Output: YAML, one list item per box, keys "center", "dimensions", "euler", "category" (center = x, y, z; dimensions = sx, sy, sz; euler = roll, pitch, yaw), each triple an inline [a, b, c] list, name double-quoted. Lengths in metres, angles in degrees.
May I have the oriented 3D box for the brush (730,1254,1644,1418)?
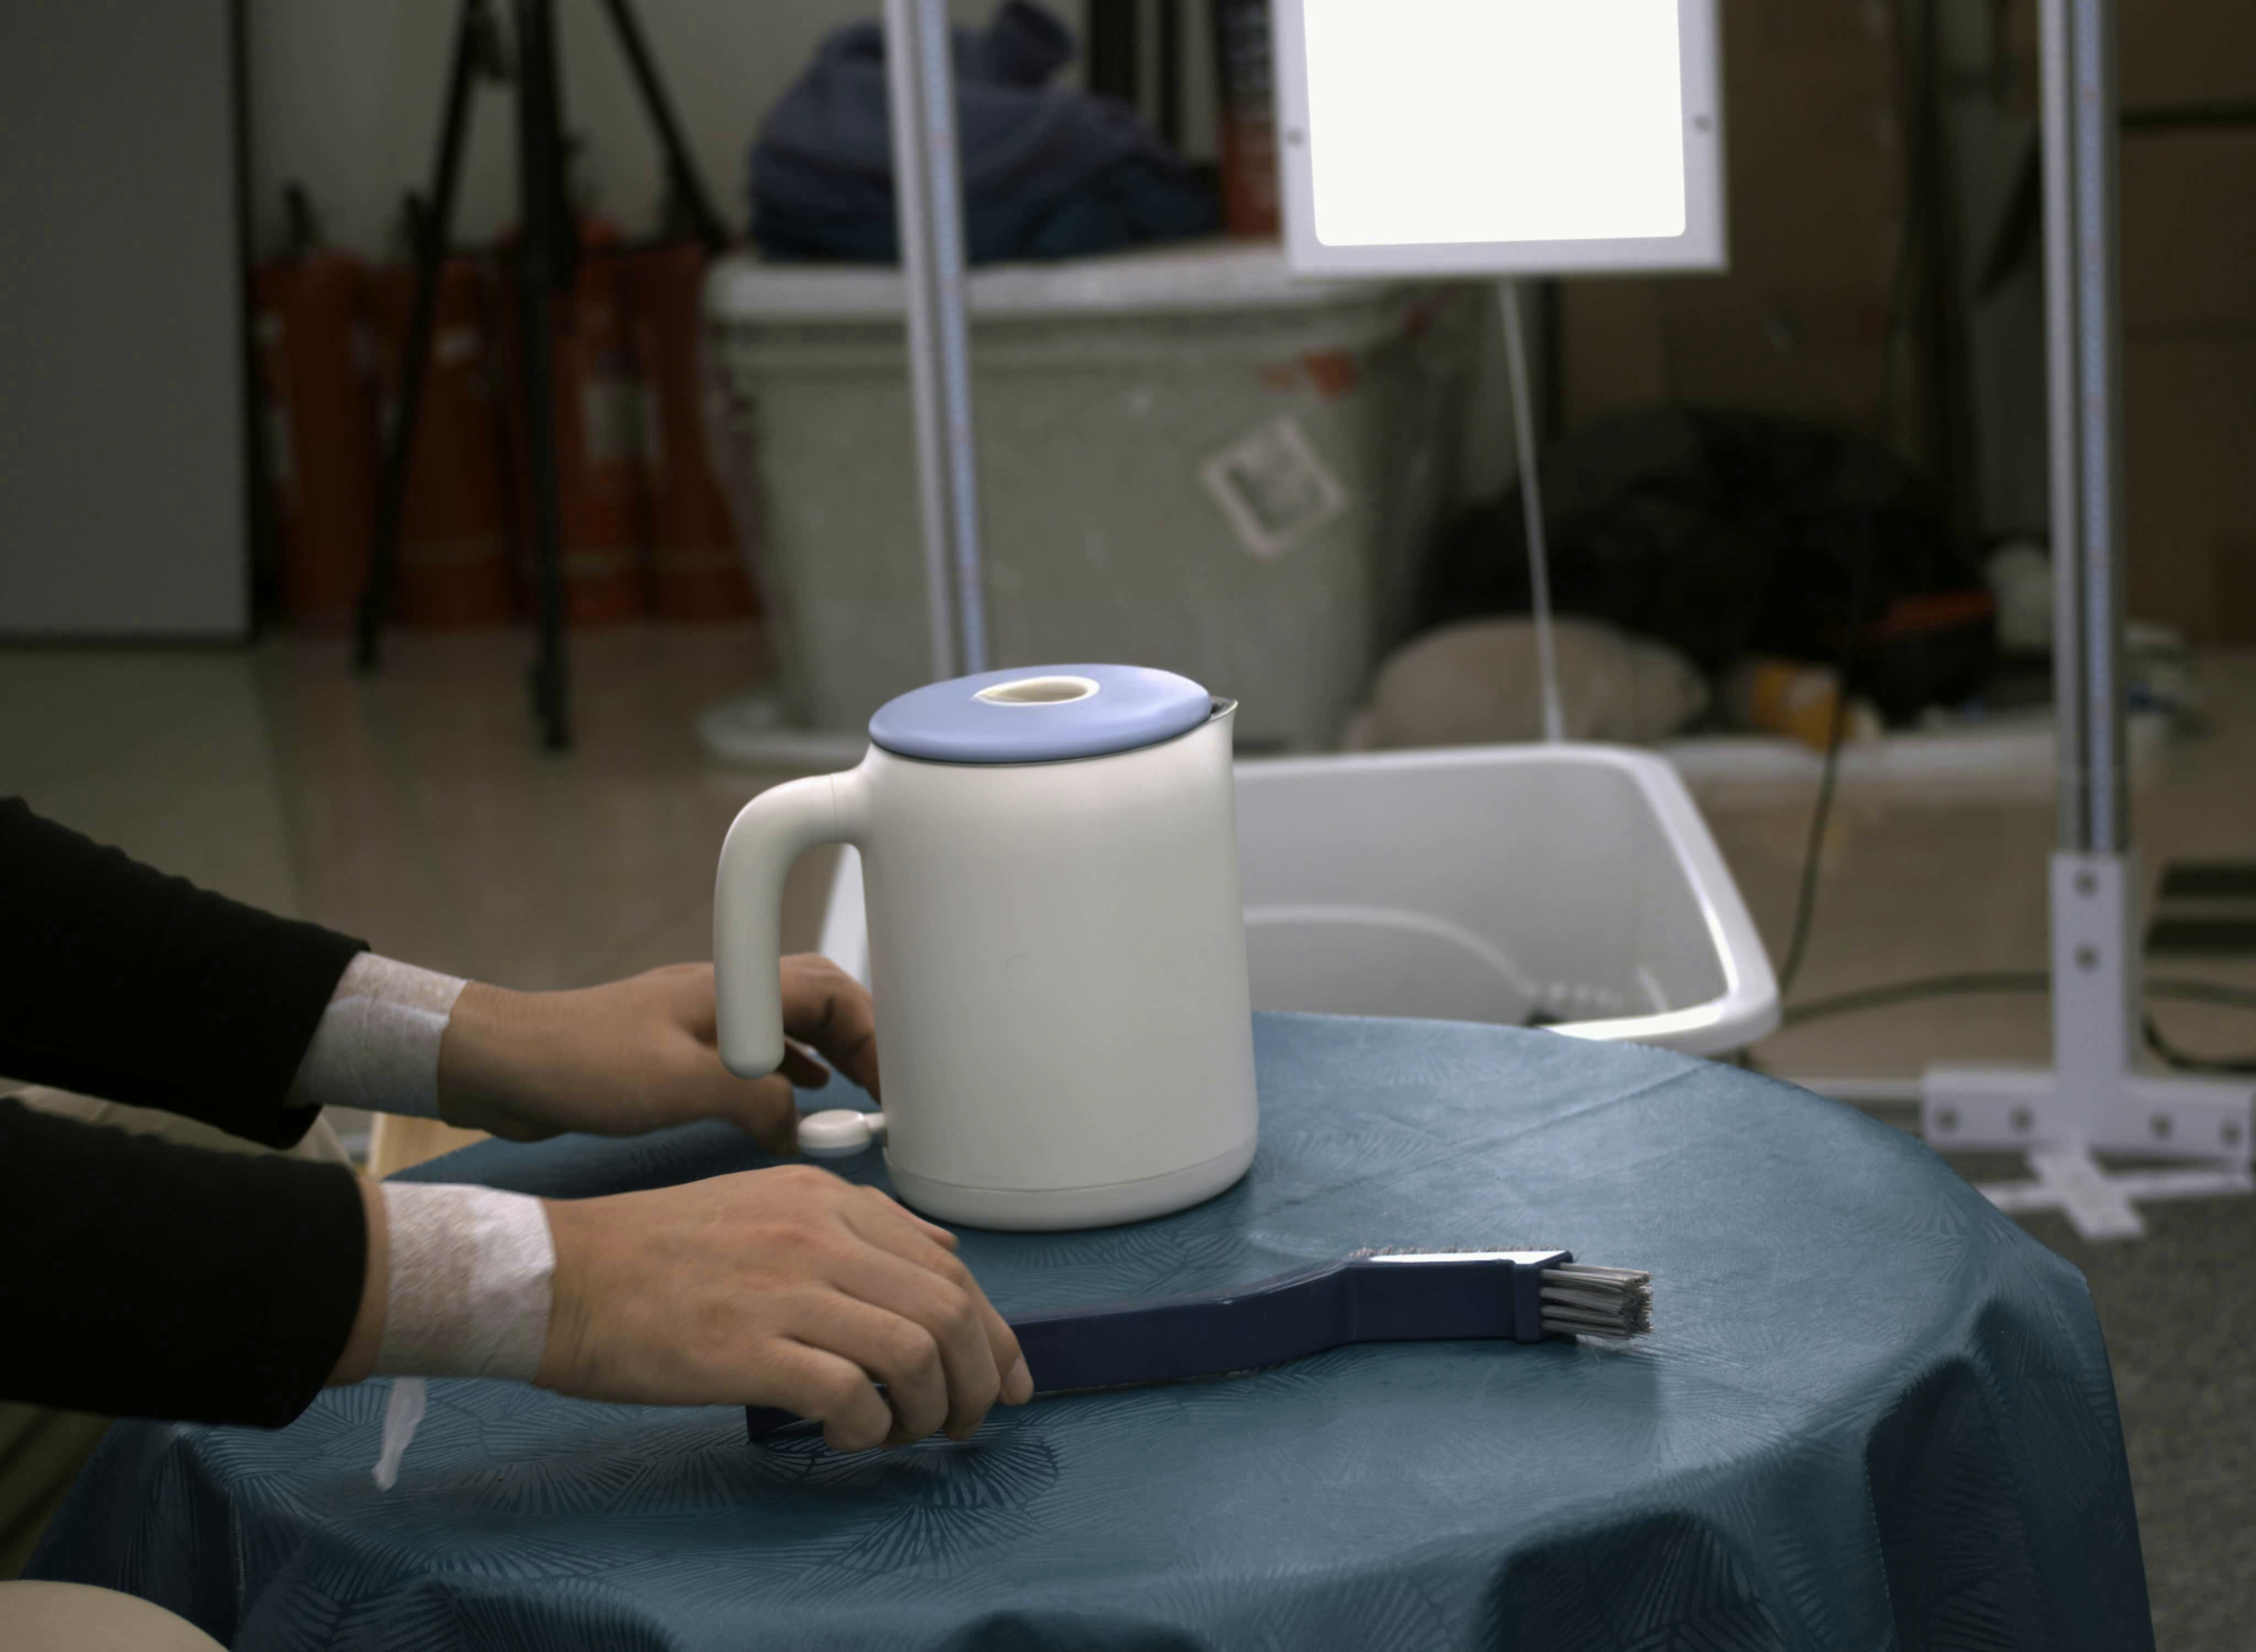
- center: [0.017, 0.158, 1.698]
  dimensions: [0.269, 0.033, 0.096]
  euler: [-7, 16, -12]
  category: "brush"

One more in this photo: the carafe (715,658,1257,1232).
- center: [-0.049, 0.043, 1.895]
  dimensions: [0.189, 0.183, 0.133]
  euler: [-8, 14, -7]
  category: "carafe"
